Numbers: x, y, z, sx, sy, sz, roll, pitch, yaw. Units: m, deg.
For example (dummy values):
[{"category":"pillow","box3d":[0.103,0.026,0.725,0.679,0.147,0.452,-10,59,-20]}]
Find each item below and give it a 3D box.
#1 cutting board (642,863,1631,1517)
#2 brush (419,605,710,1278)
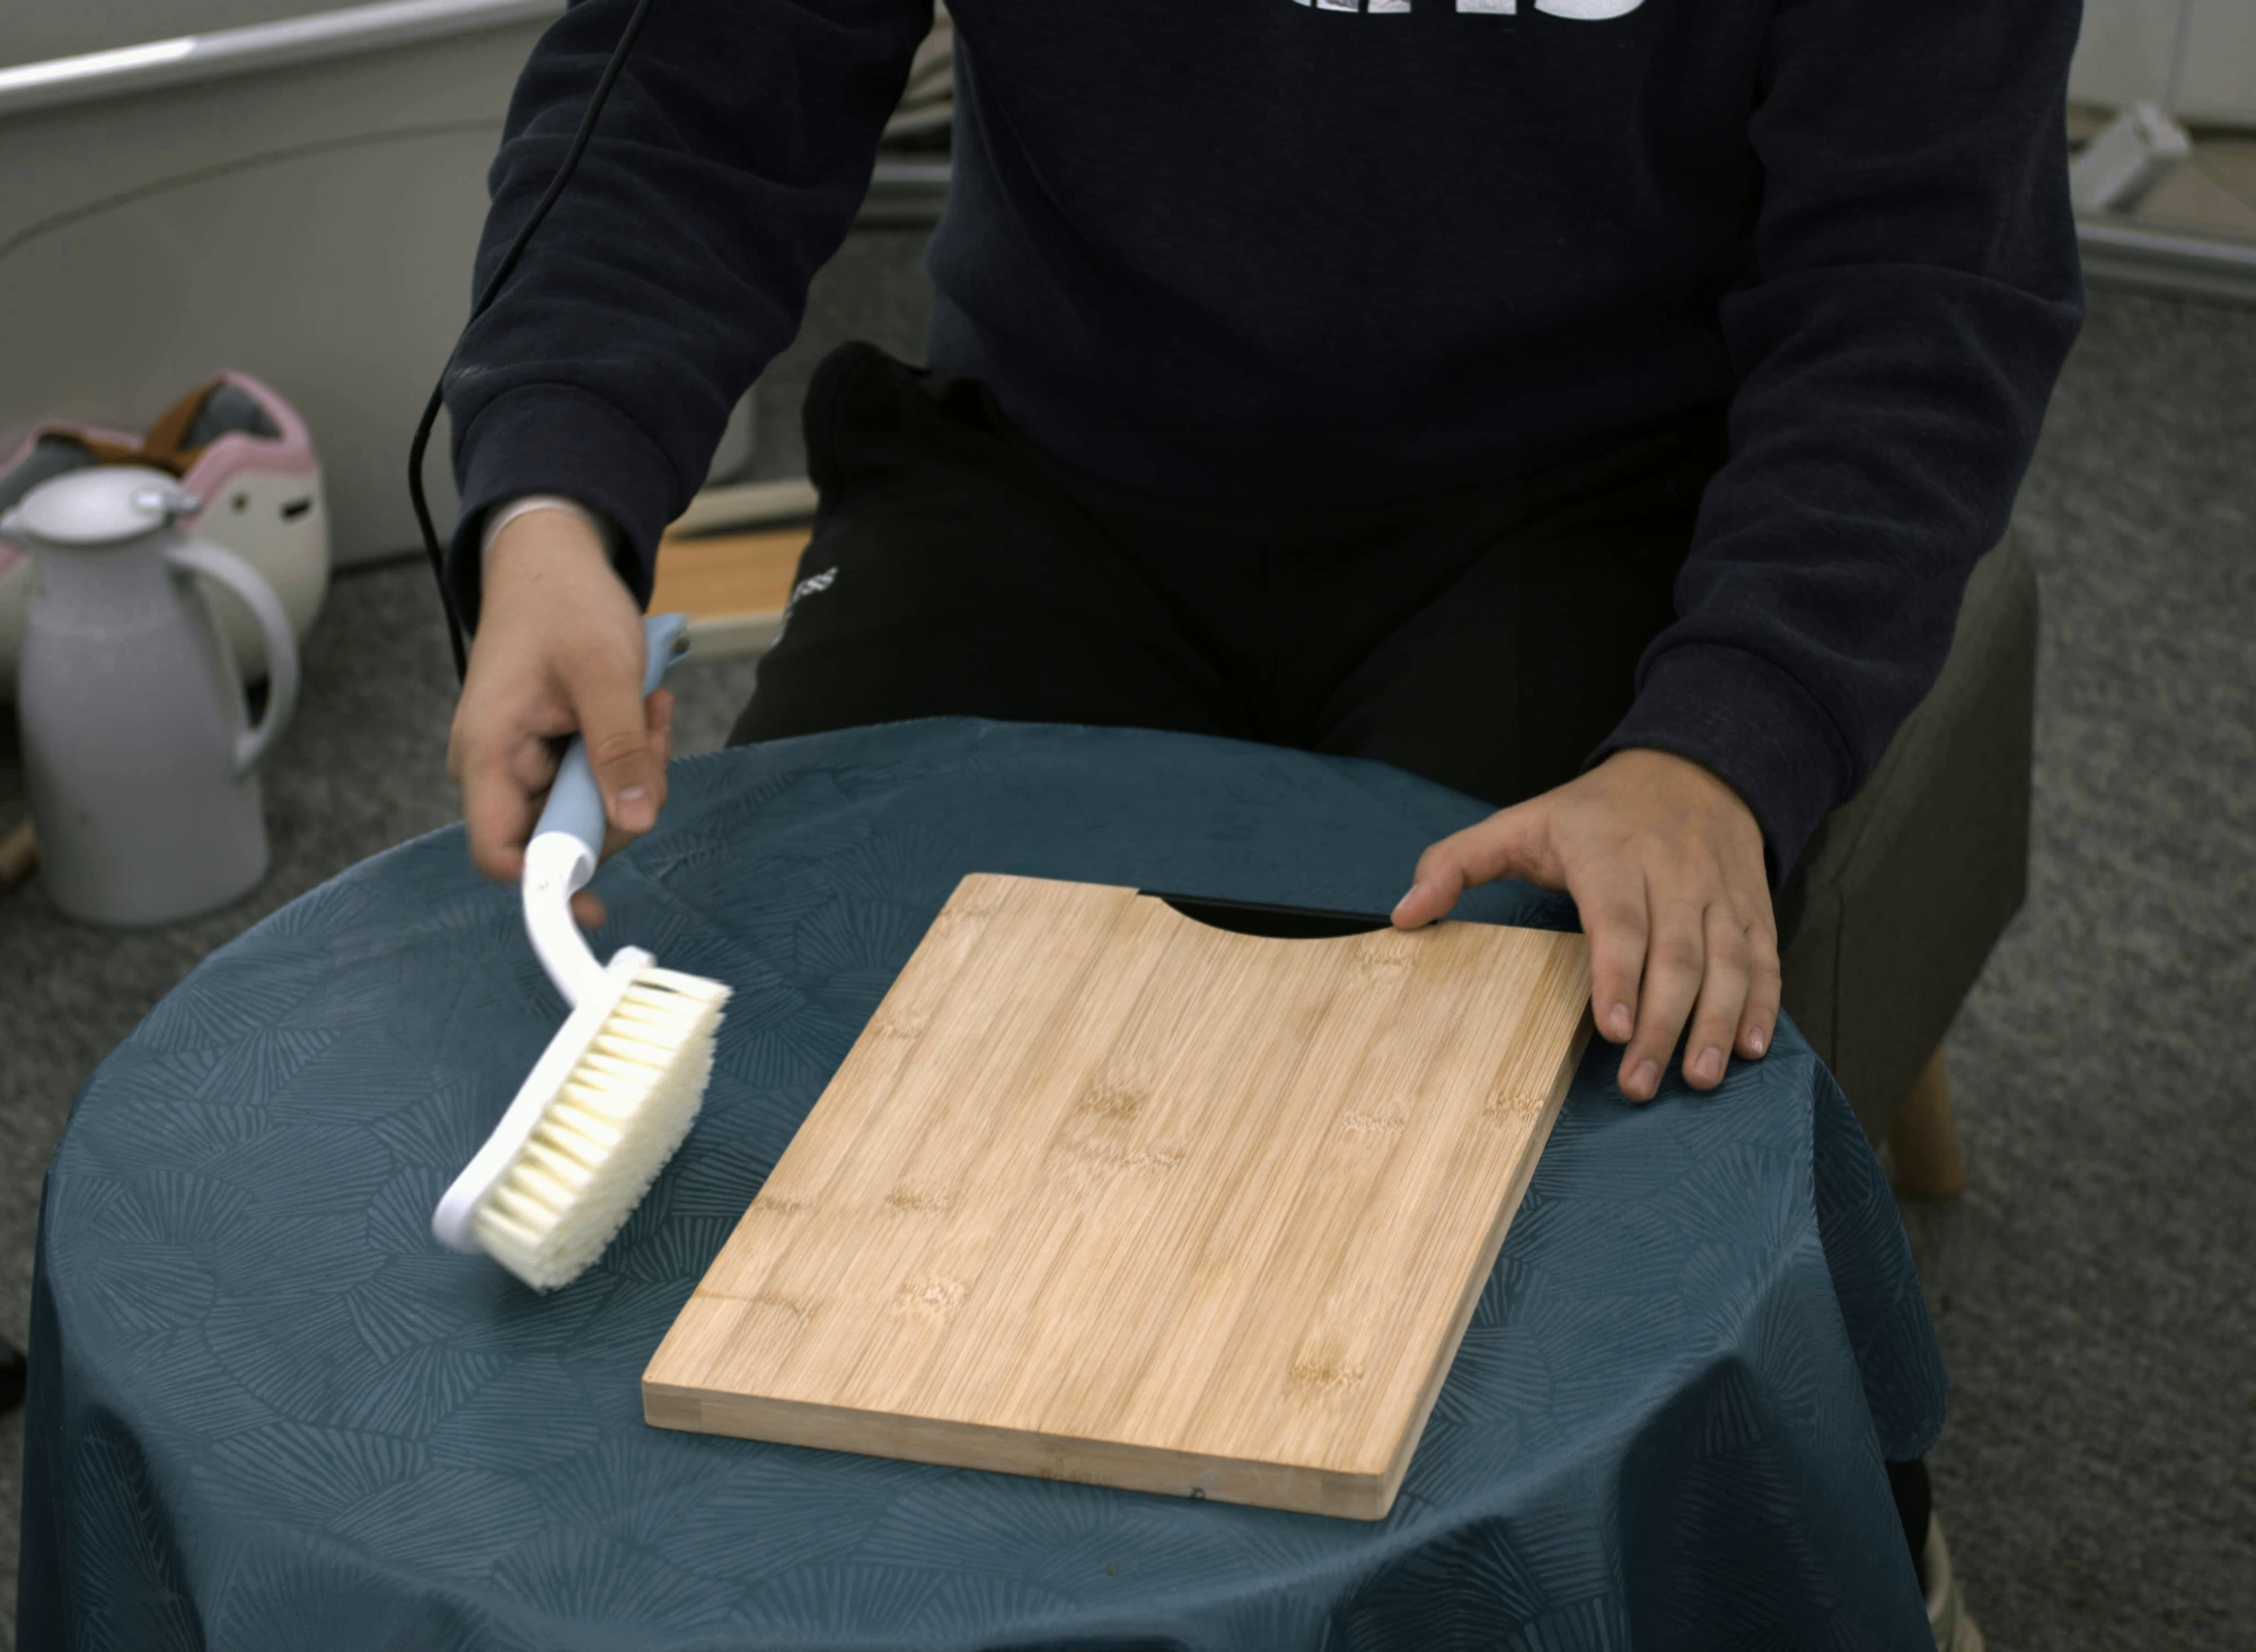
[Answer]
[{"category":"cutting board","box3d":[0.012,0.111,1.866,0.249,0.023,0.355,6,29,14]},{"category":"brush","box3d":[-0.164,0.032,1.919,0.082,0.084,0.332,-37,24,33]}]
